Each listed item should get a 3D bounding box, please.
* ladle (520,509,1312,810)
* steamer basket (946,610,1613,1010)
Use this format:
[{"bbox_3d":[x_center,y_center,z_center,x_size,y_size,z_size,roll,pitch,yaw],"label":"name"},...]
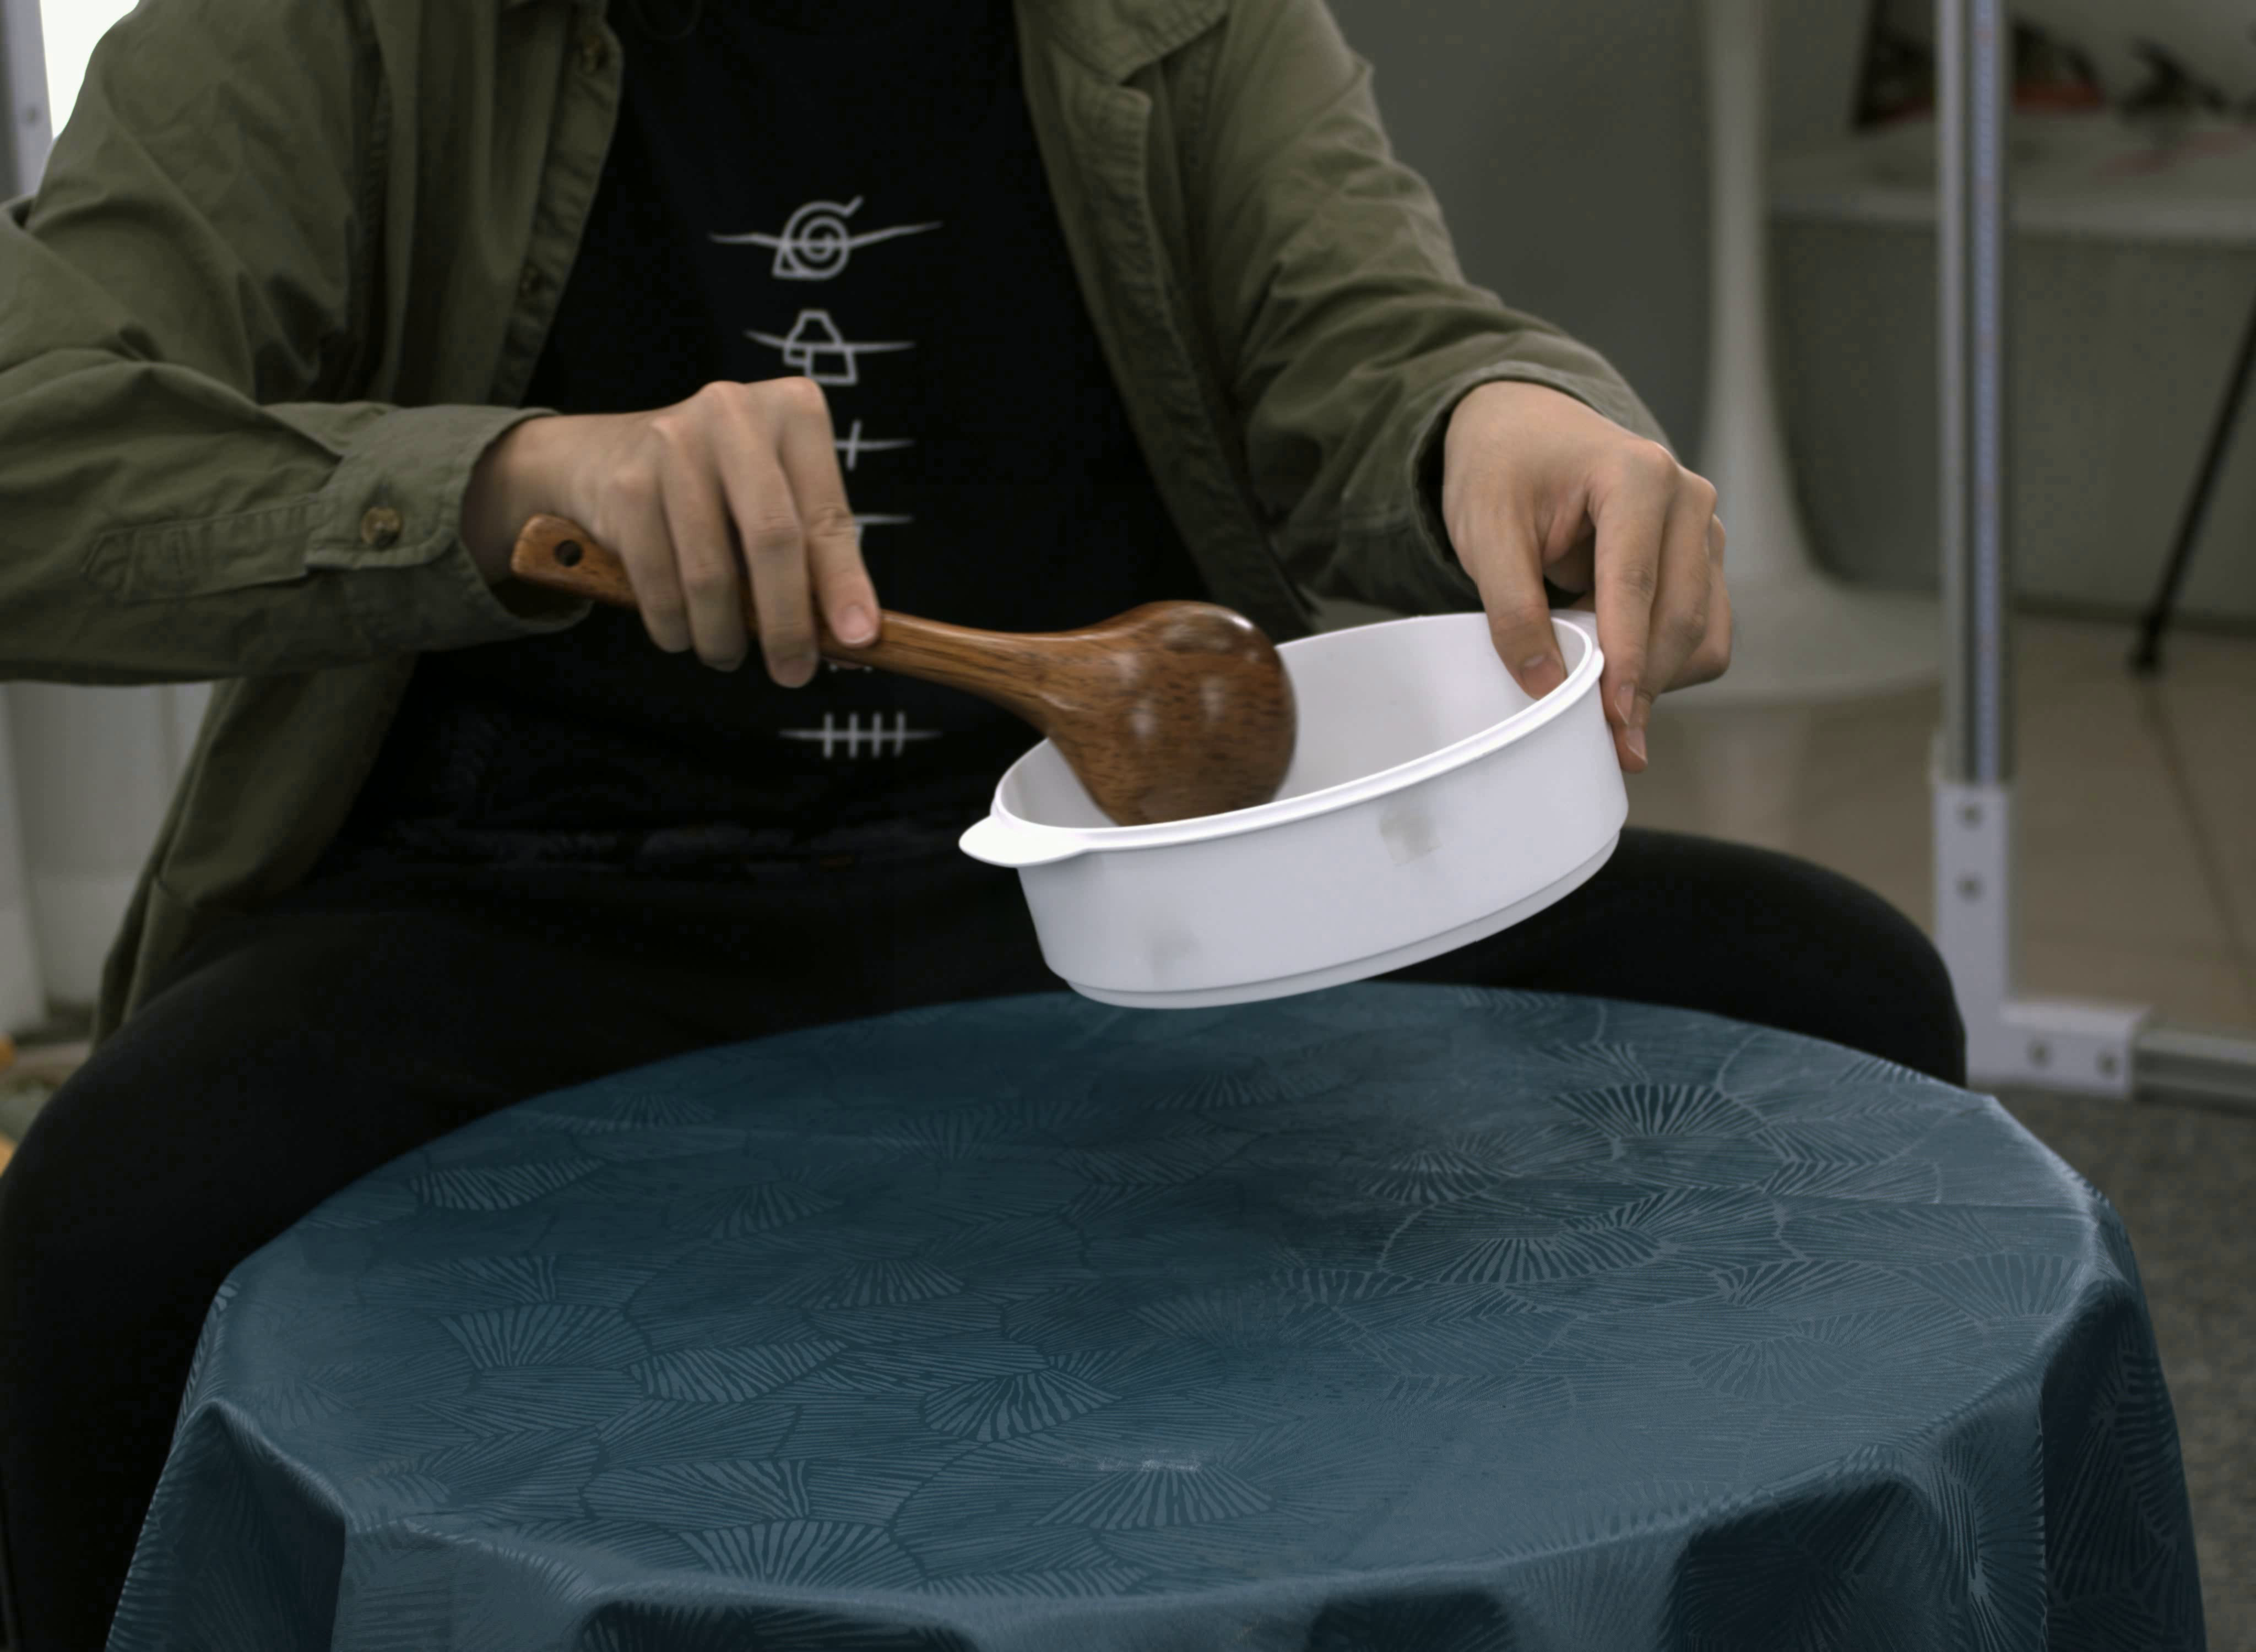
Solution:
[{"bbox_3d":[-0.068,-0.060,1.779,0.275,0.082,0.076,14,-14,26],"label":"ladle"},{"bbox_3d":[0.055,-0.004,1.706,0.226,0.070,0.204,-21,15,-20],"label":"steamer basket"}]
